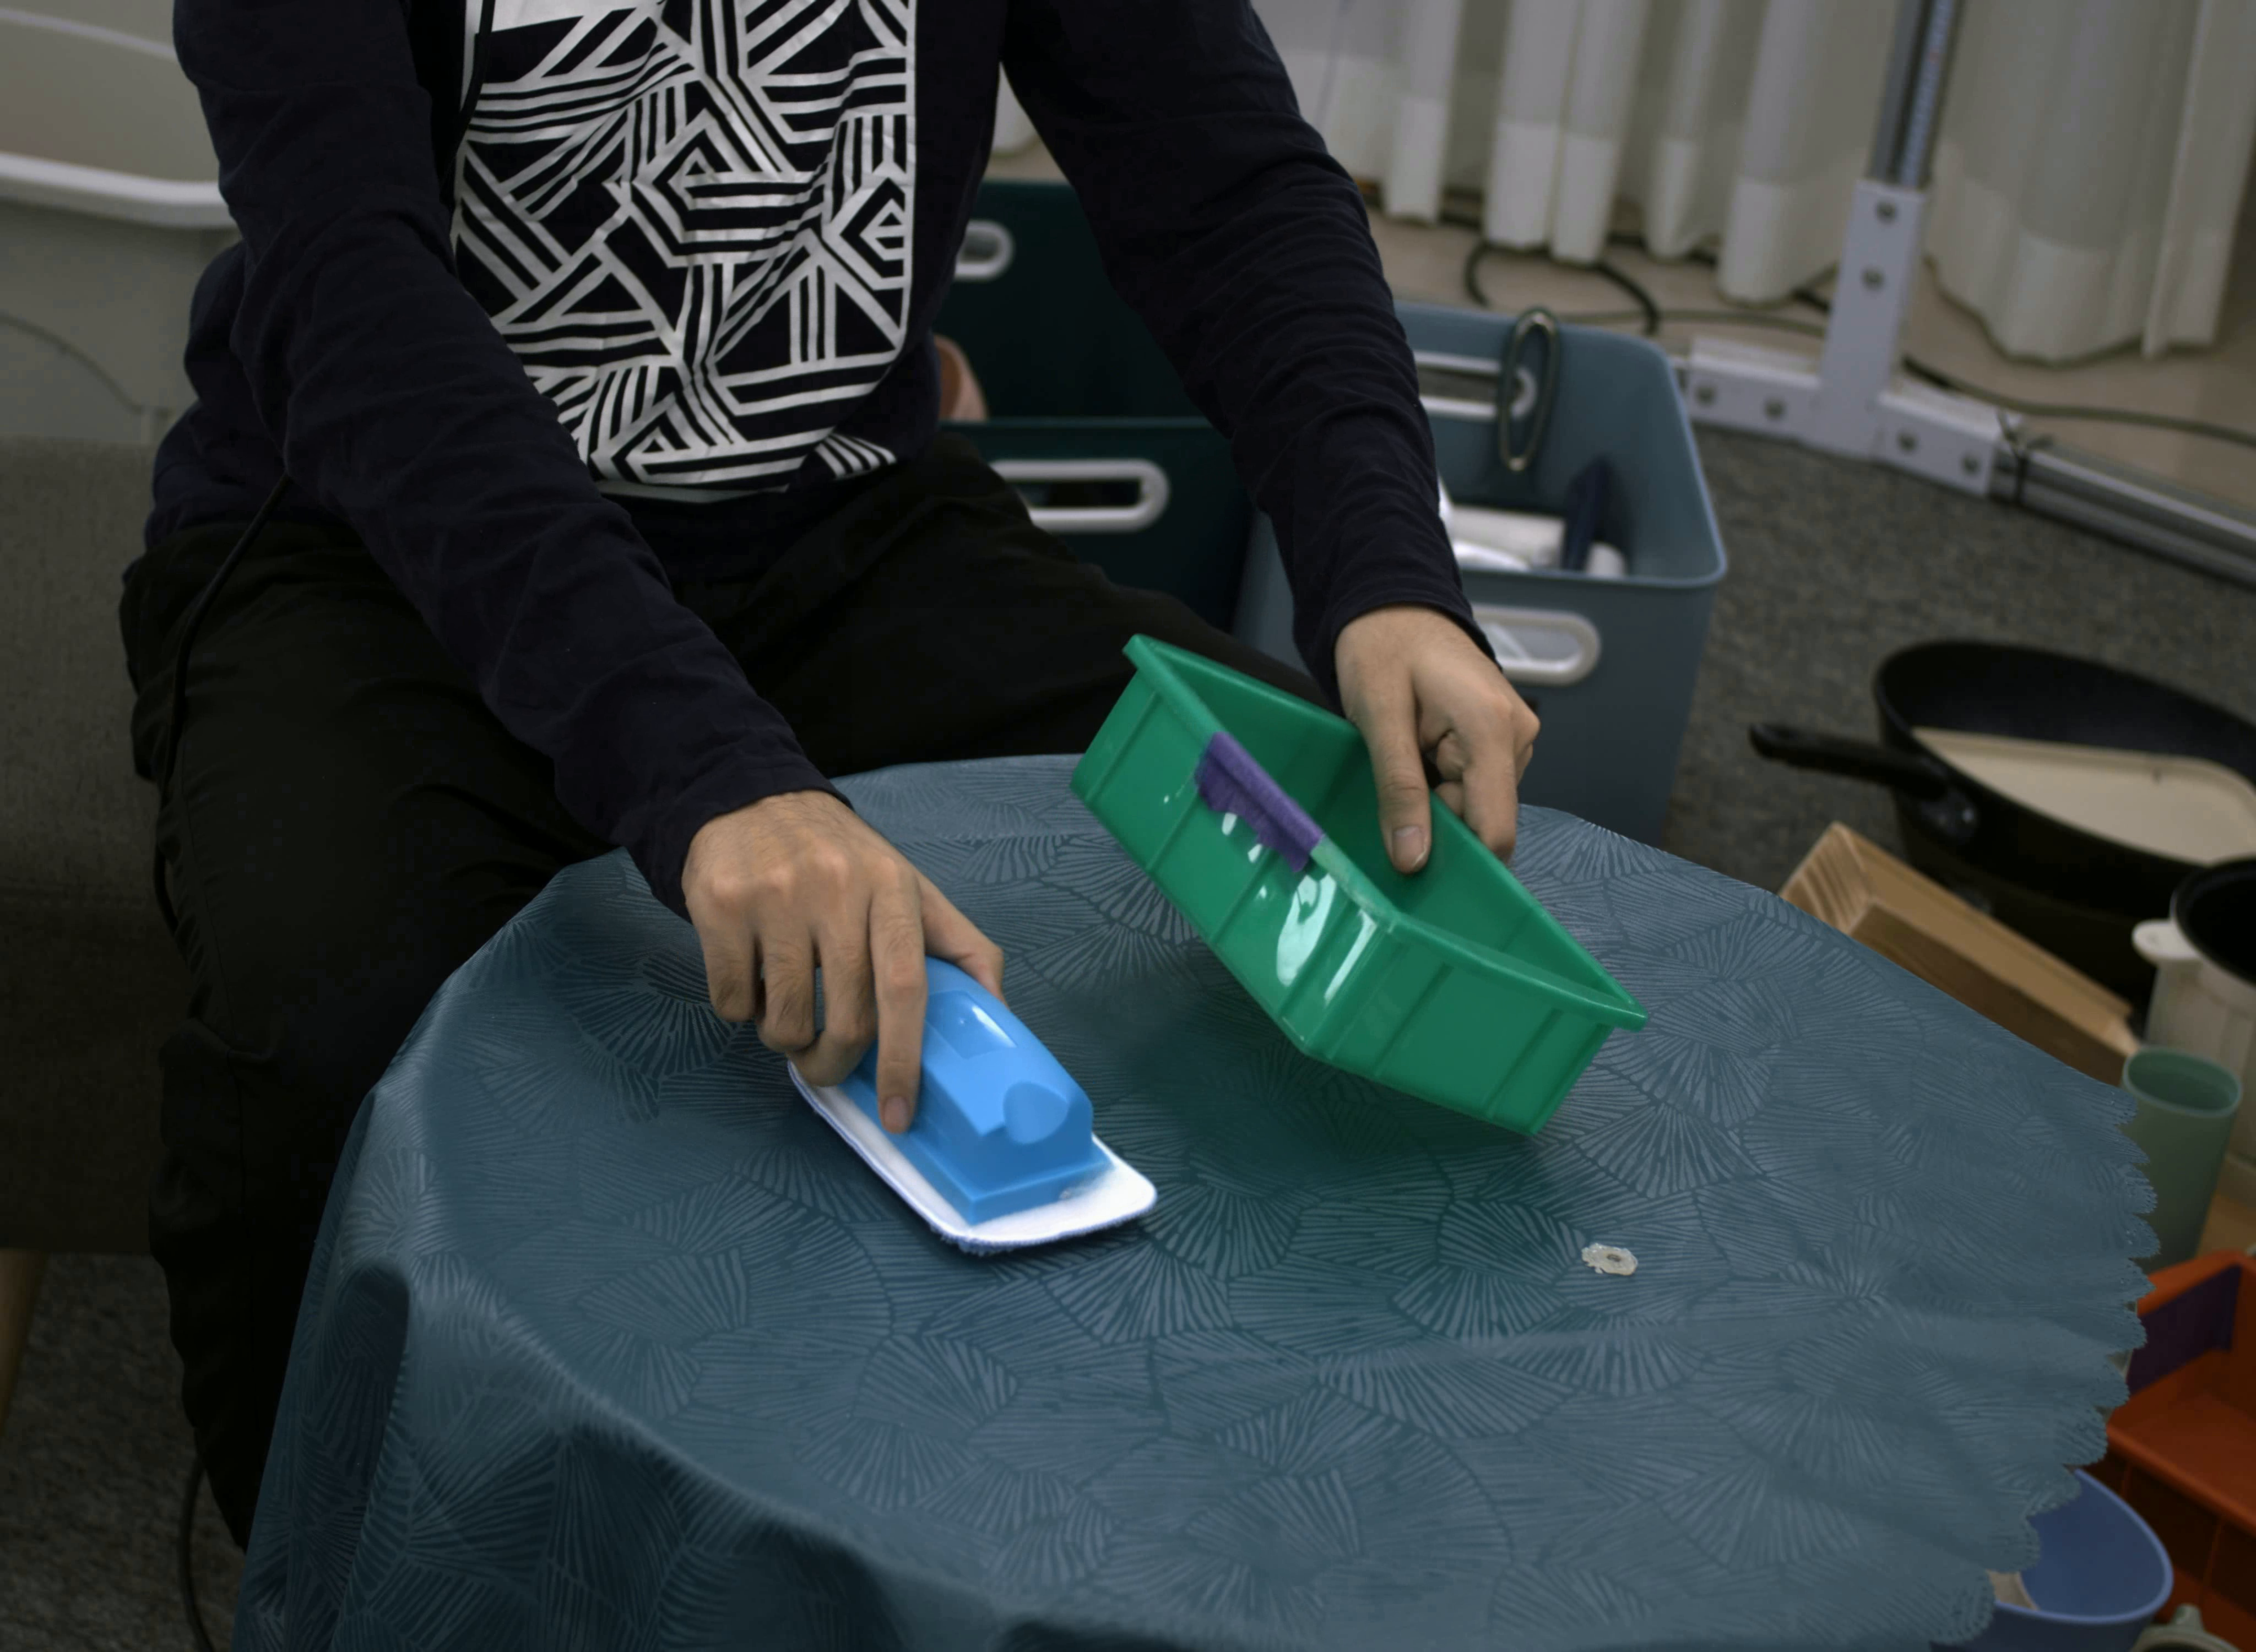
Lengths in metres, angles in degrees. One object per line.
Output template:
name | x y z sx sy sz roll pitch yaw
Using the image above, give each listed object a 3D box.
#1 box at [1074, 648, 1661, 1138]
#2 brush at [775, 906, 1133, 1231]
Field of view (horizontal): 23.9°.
box | 0.078 0.026 1.881 0.137 0.065 0.212 18 19 -40
brush | -0.057 0.076 1.803 0.083 0.055 0.145 -13 42 -25
